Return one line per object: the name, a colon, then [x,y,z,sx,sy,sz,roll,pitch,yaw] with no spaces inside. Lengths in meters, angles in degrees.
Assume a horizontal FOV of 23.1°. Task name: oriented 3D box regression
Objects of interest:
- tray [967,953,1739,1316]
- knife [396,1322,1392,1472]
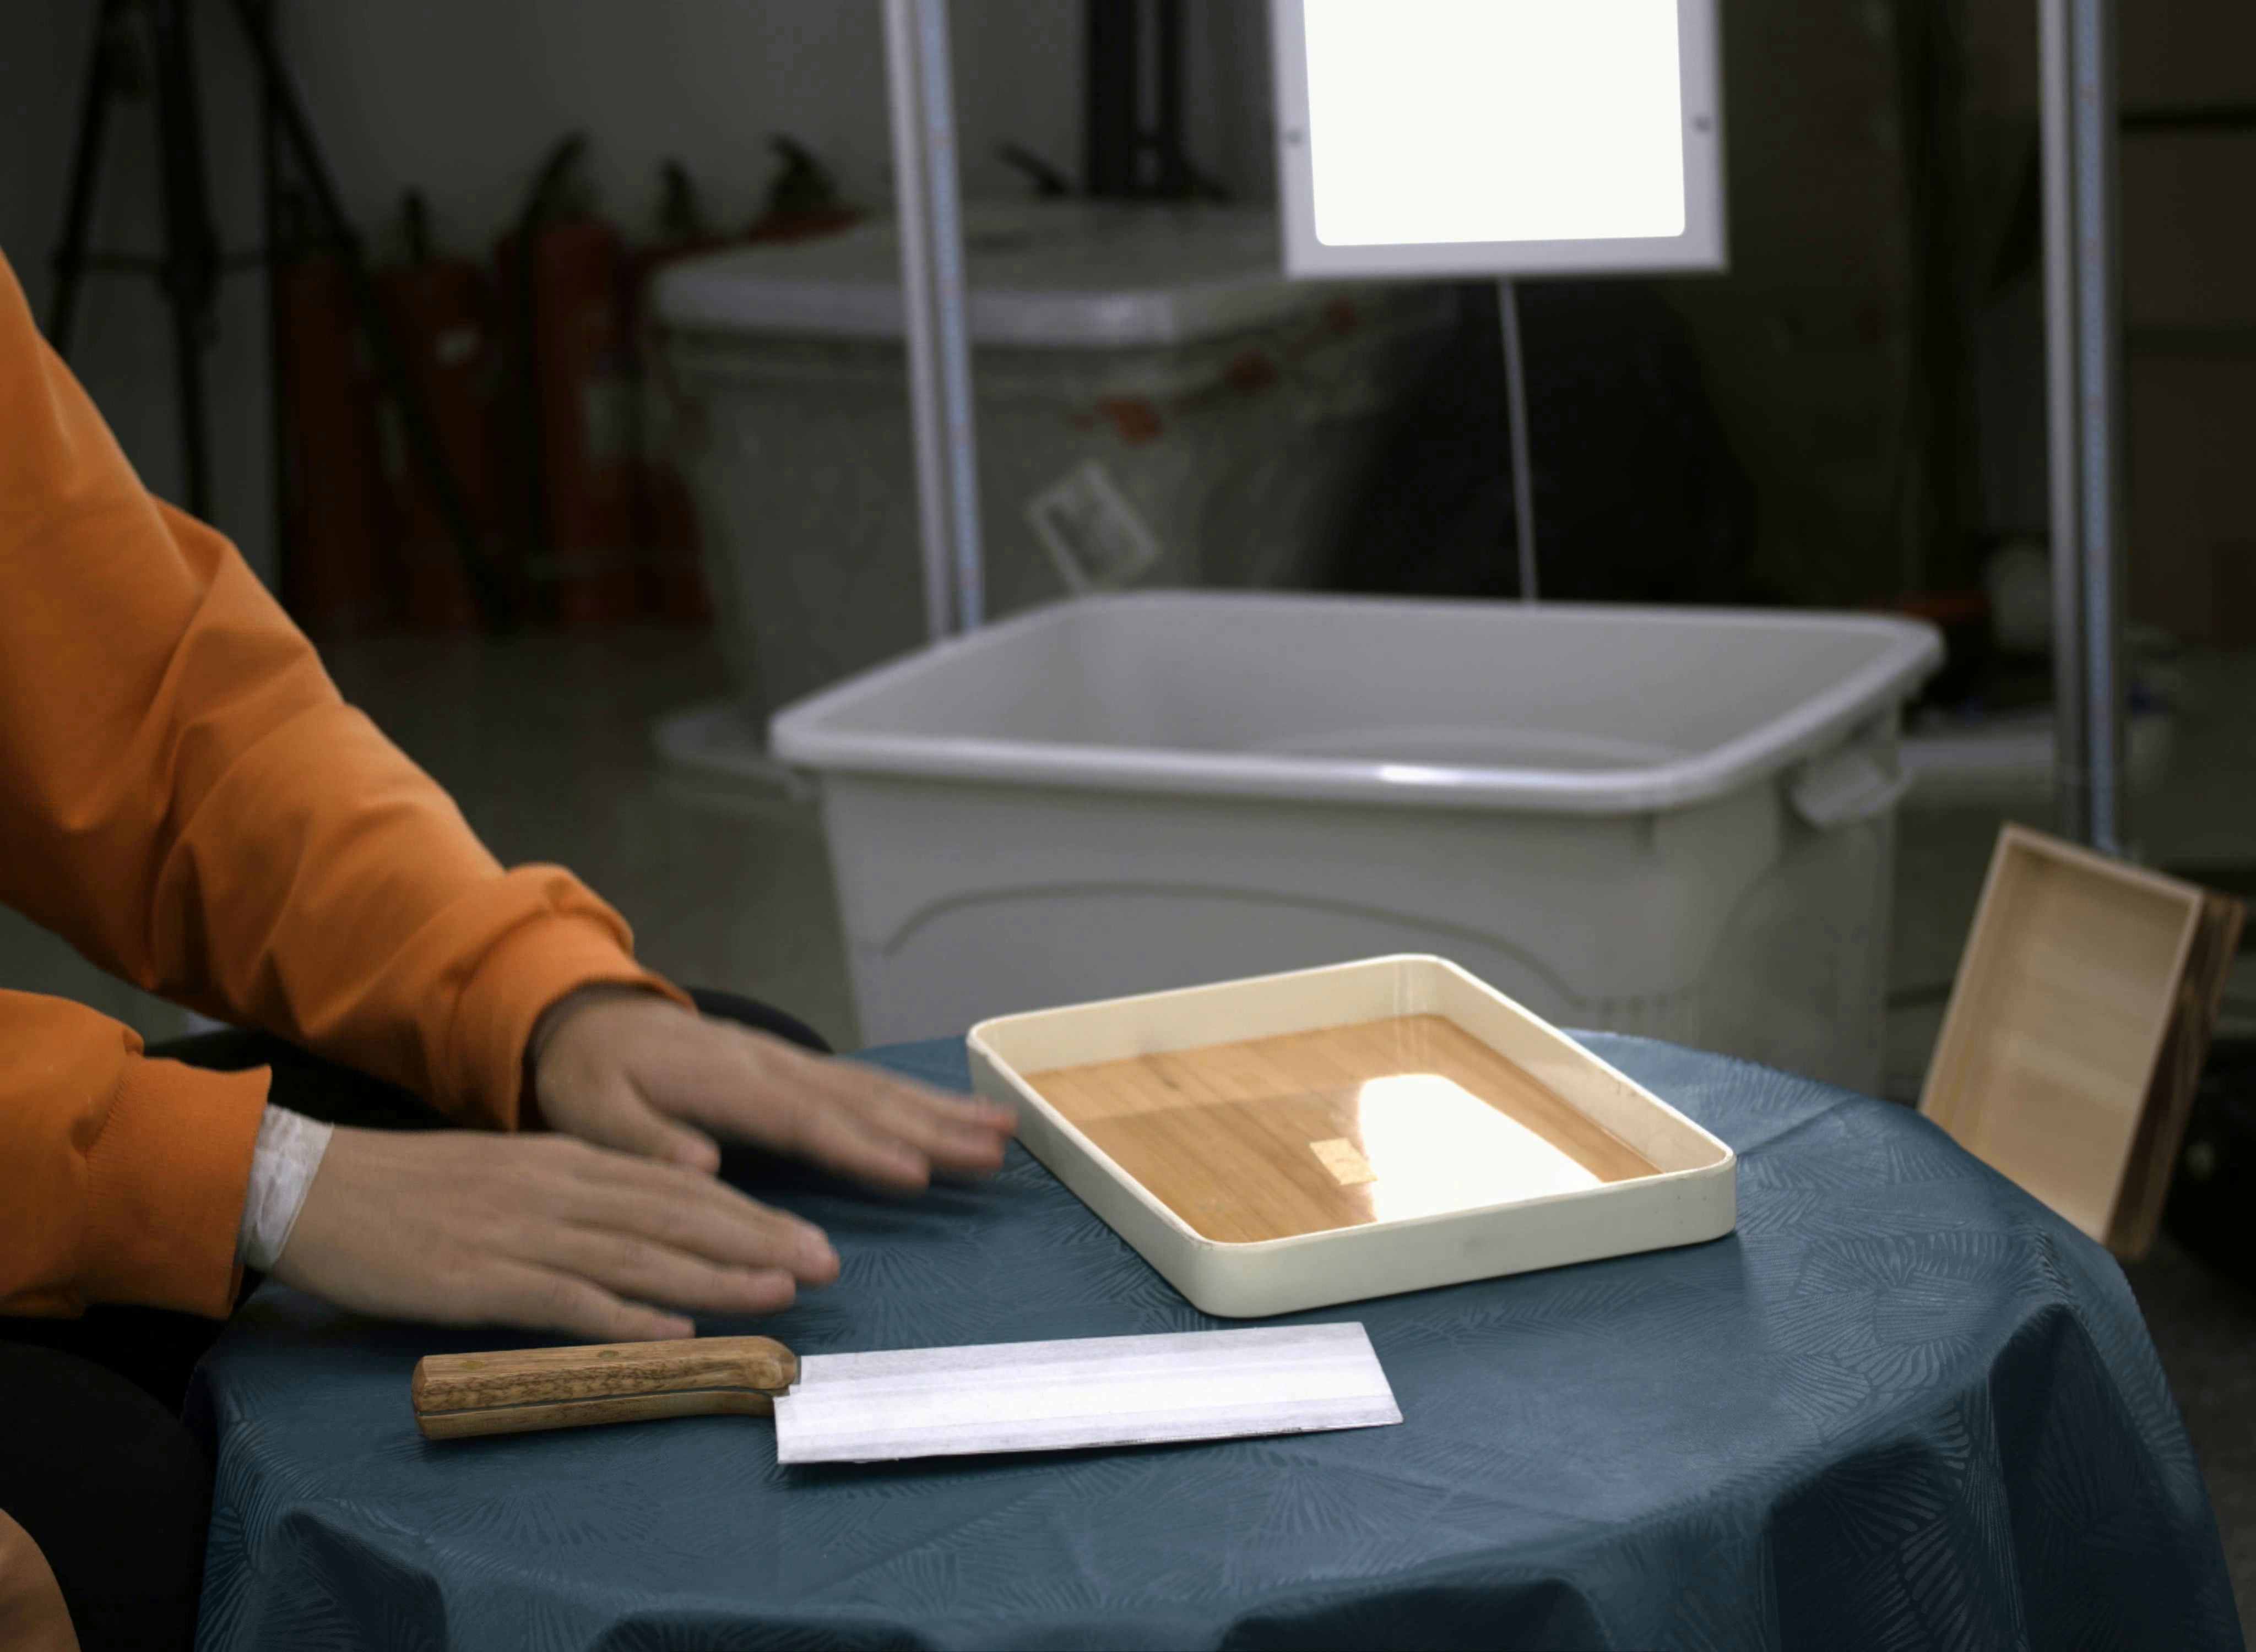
tray: [0.072,0.103,1.908,0.189,0.027,0.303,-9,15,-15]
knife: [-0.072,0.176,1.690,0.304,0.021,0.093,-3,15,-3]
